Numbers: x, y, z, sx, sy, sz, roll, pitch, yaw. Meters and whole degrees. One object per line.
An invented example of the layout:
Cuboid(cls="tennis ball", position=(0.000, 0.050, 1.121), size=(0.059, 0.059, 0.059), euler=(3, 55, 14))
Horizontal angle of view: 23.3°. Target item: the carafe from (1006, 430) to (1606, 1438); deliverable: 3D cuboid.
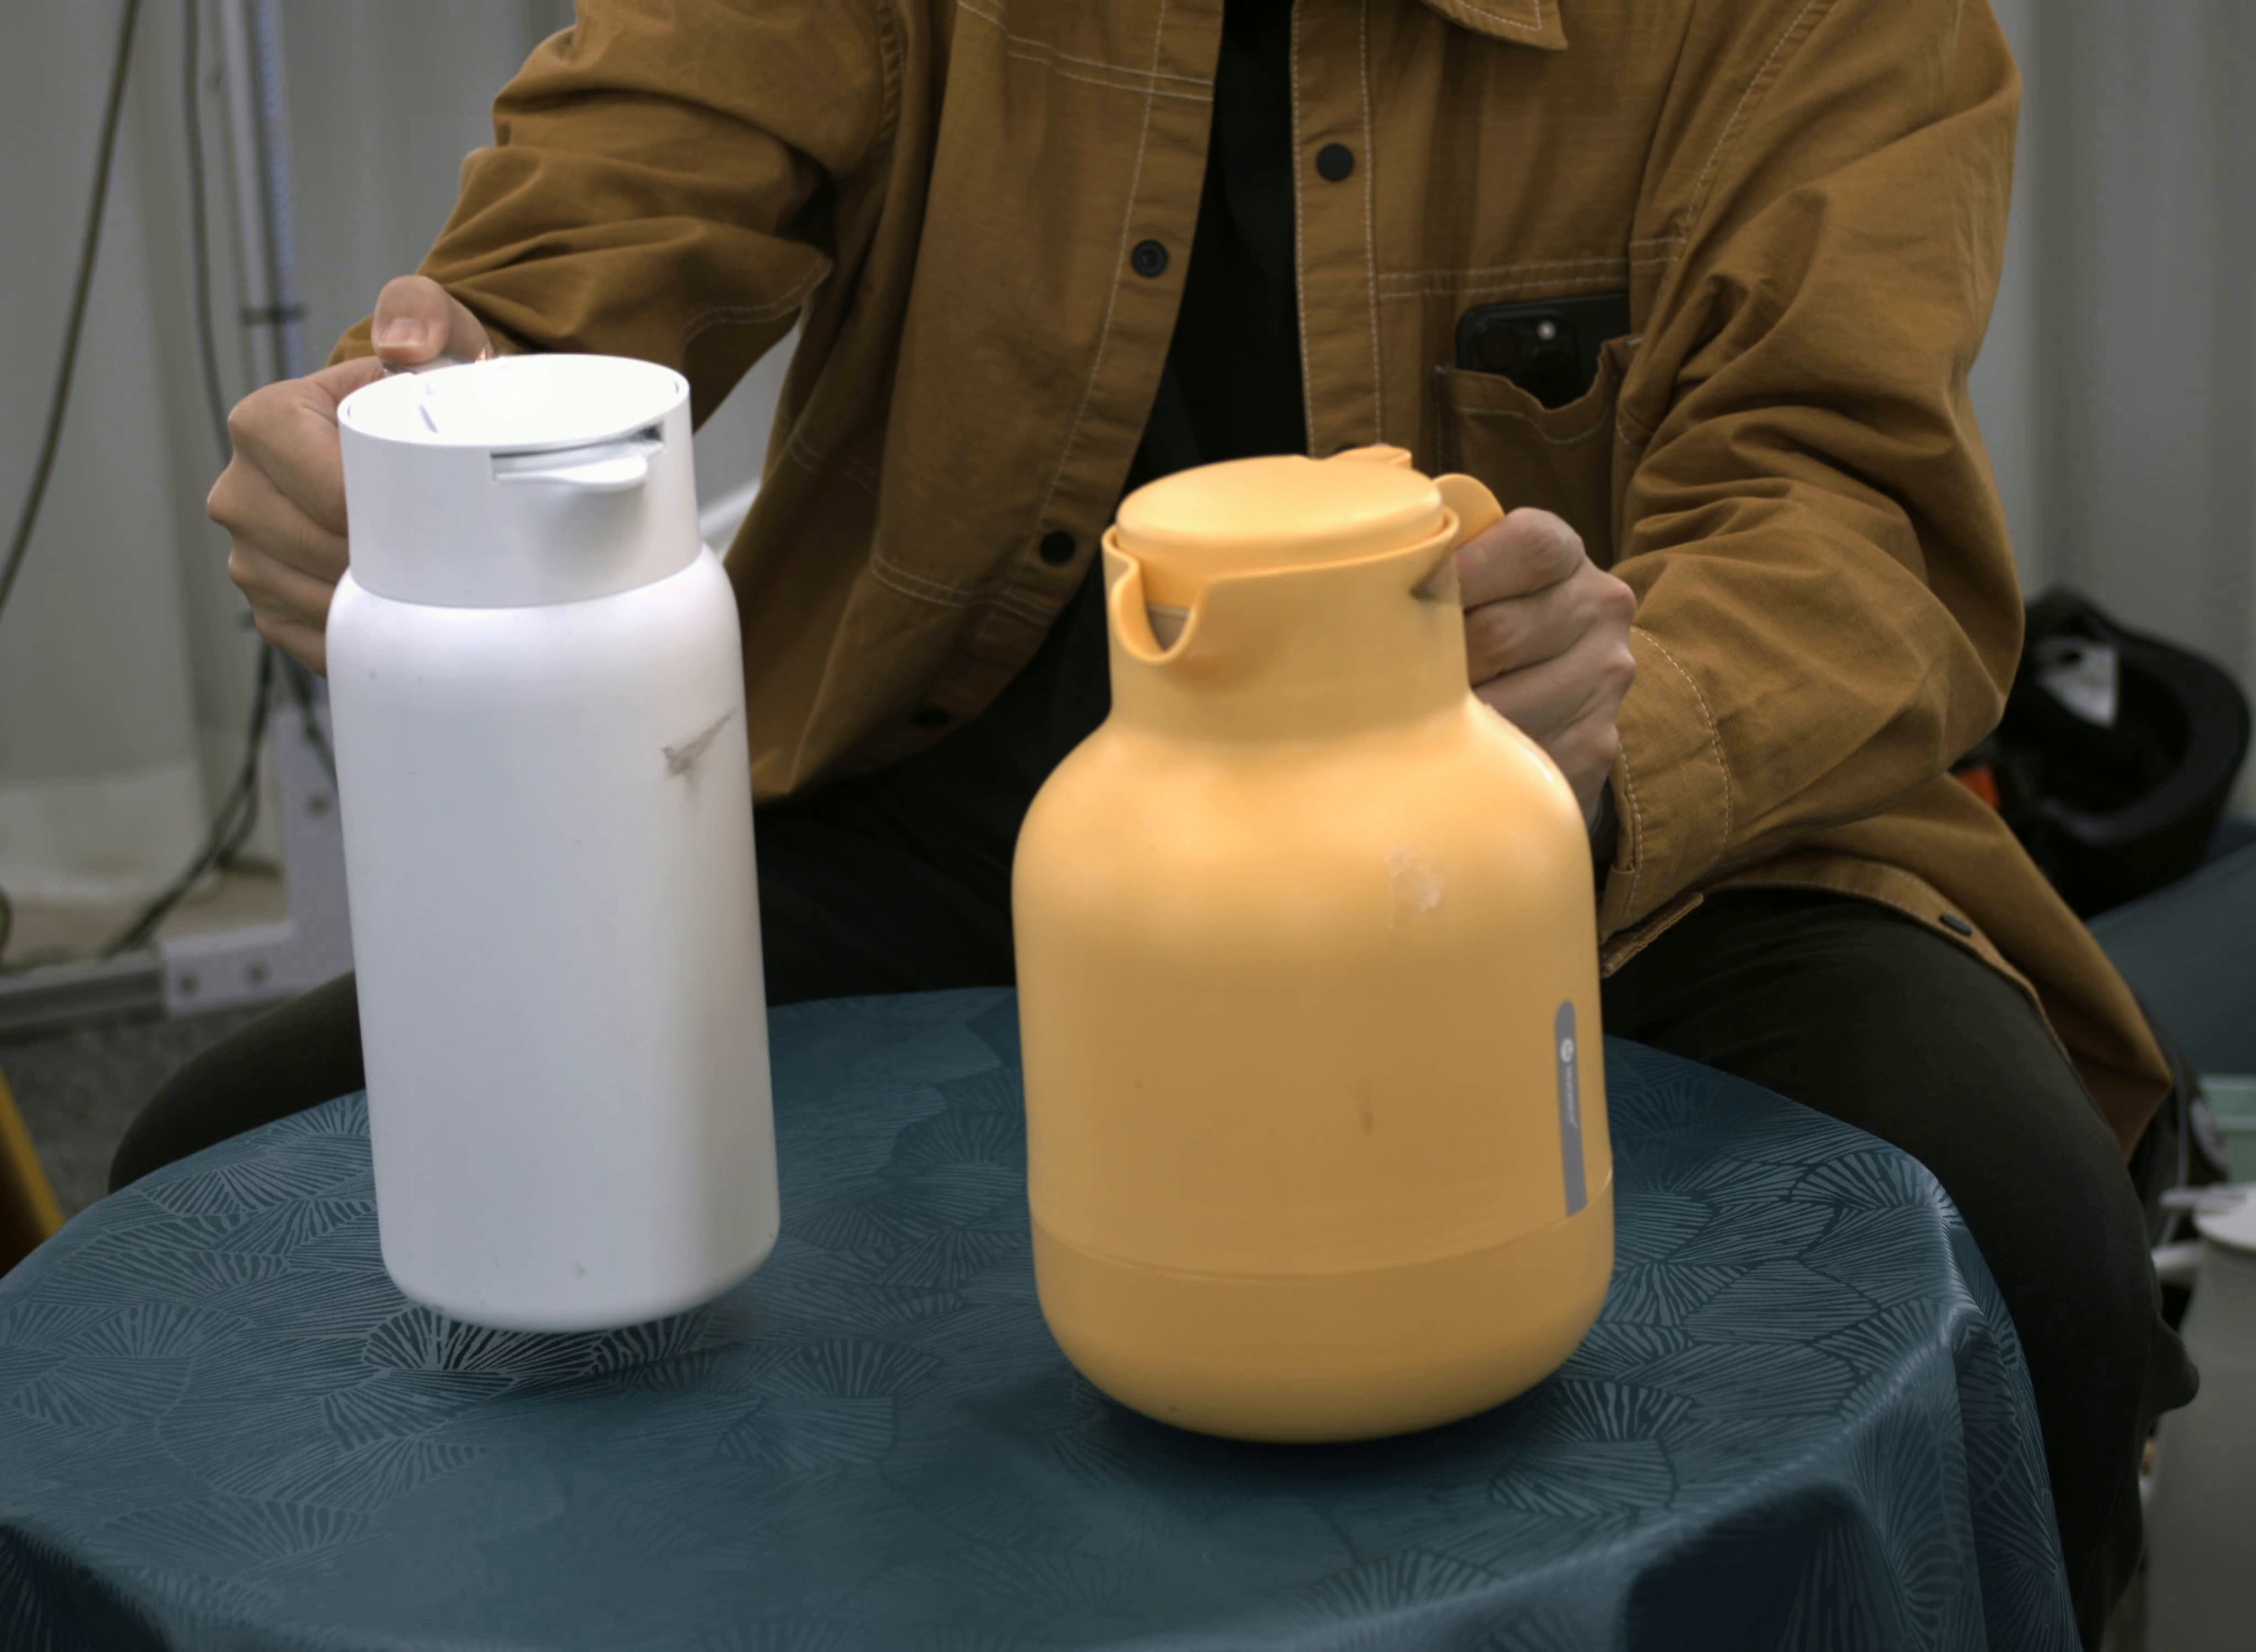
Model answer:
Cuboid(cls="carafe", position=(0.059, 0.021, 1.517), size=(0.164, 0.259, 0.203), euler=(9, 21, 32))

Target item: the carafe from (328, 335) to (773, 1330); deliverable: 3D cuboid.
Cuboid(cls="carafe", position=(-0.176, -0.002, 1.580), size=(0.123, 0.267, 0.174), euler=(-15, 22, -29))
